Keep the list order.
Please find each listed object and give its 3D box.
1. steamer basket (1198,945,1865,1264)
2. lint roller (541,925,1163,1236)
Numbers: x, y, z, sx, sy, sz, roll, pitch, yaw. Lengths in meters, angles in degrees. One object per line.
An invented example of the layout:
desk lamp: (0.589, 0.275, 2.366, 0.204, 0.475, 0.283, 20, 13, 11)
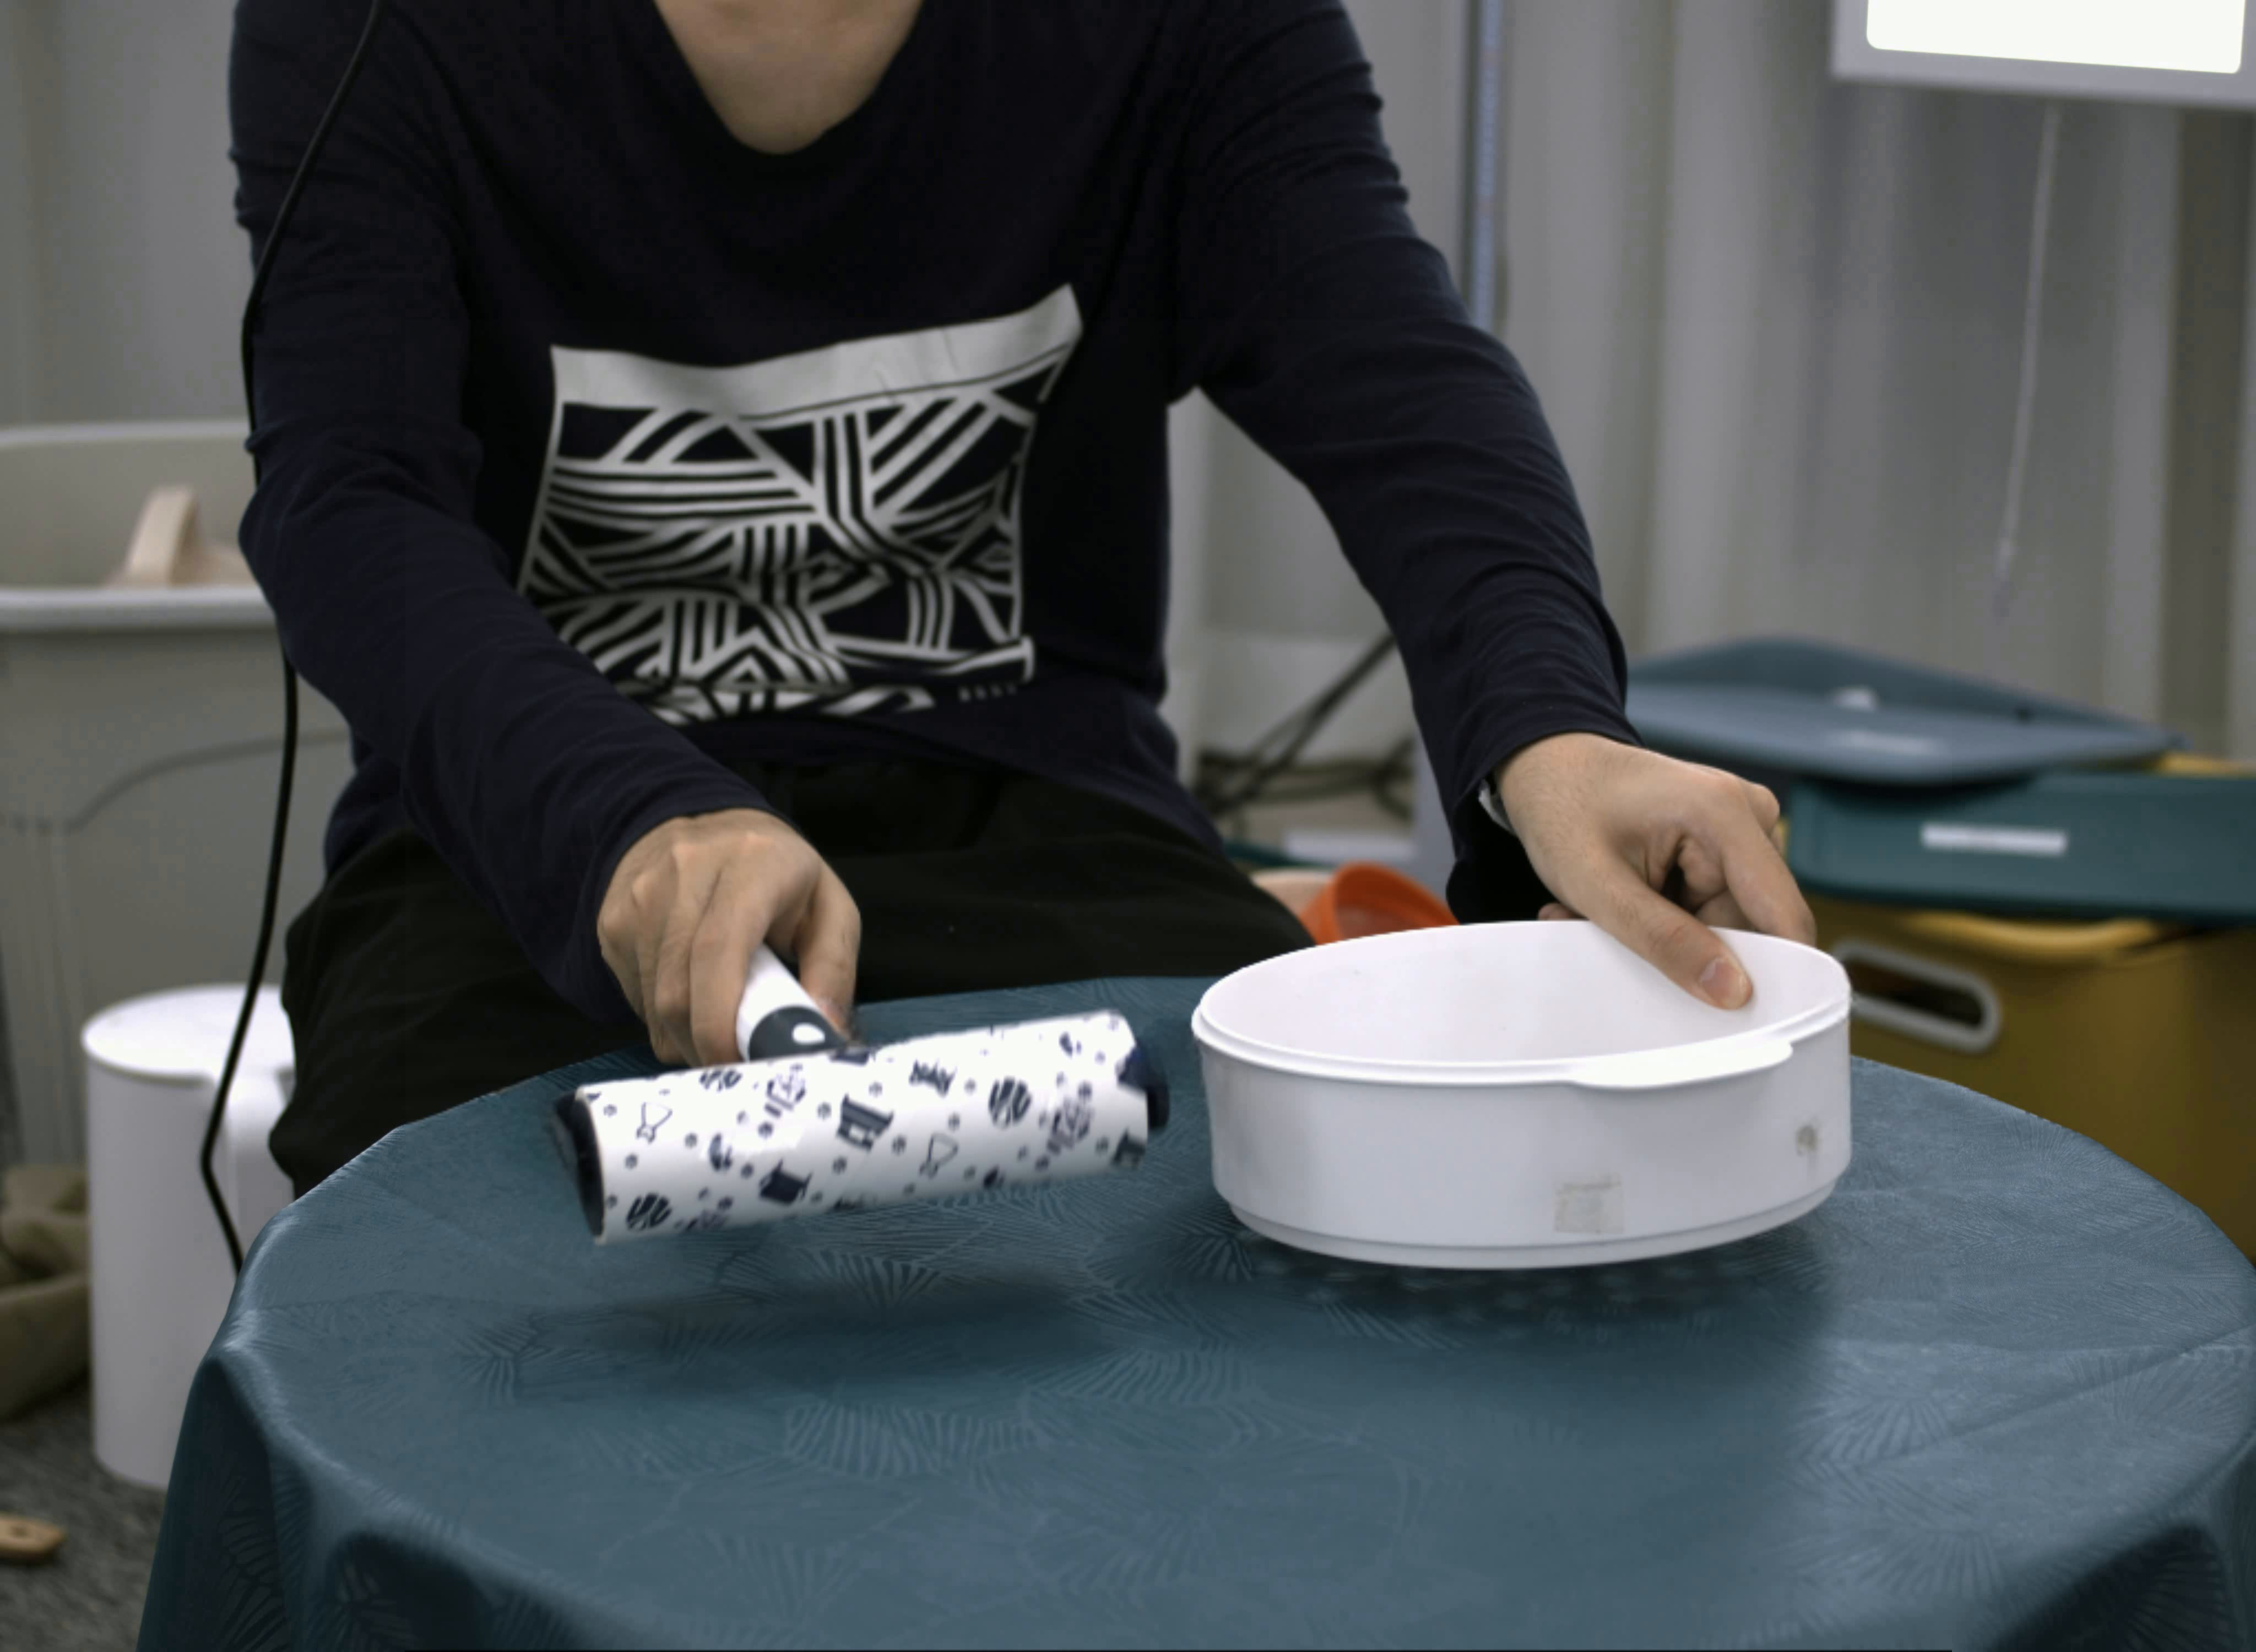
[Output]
steamer basket: (0.124, 0.084, 1.589, 0.202, 0.069, 0.228, -8, 7, -22)
lint roller: (-0.107, 0.060, 1.601, 0.176, 0.051, 0.244, -9, 15, -16)
